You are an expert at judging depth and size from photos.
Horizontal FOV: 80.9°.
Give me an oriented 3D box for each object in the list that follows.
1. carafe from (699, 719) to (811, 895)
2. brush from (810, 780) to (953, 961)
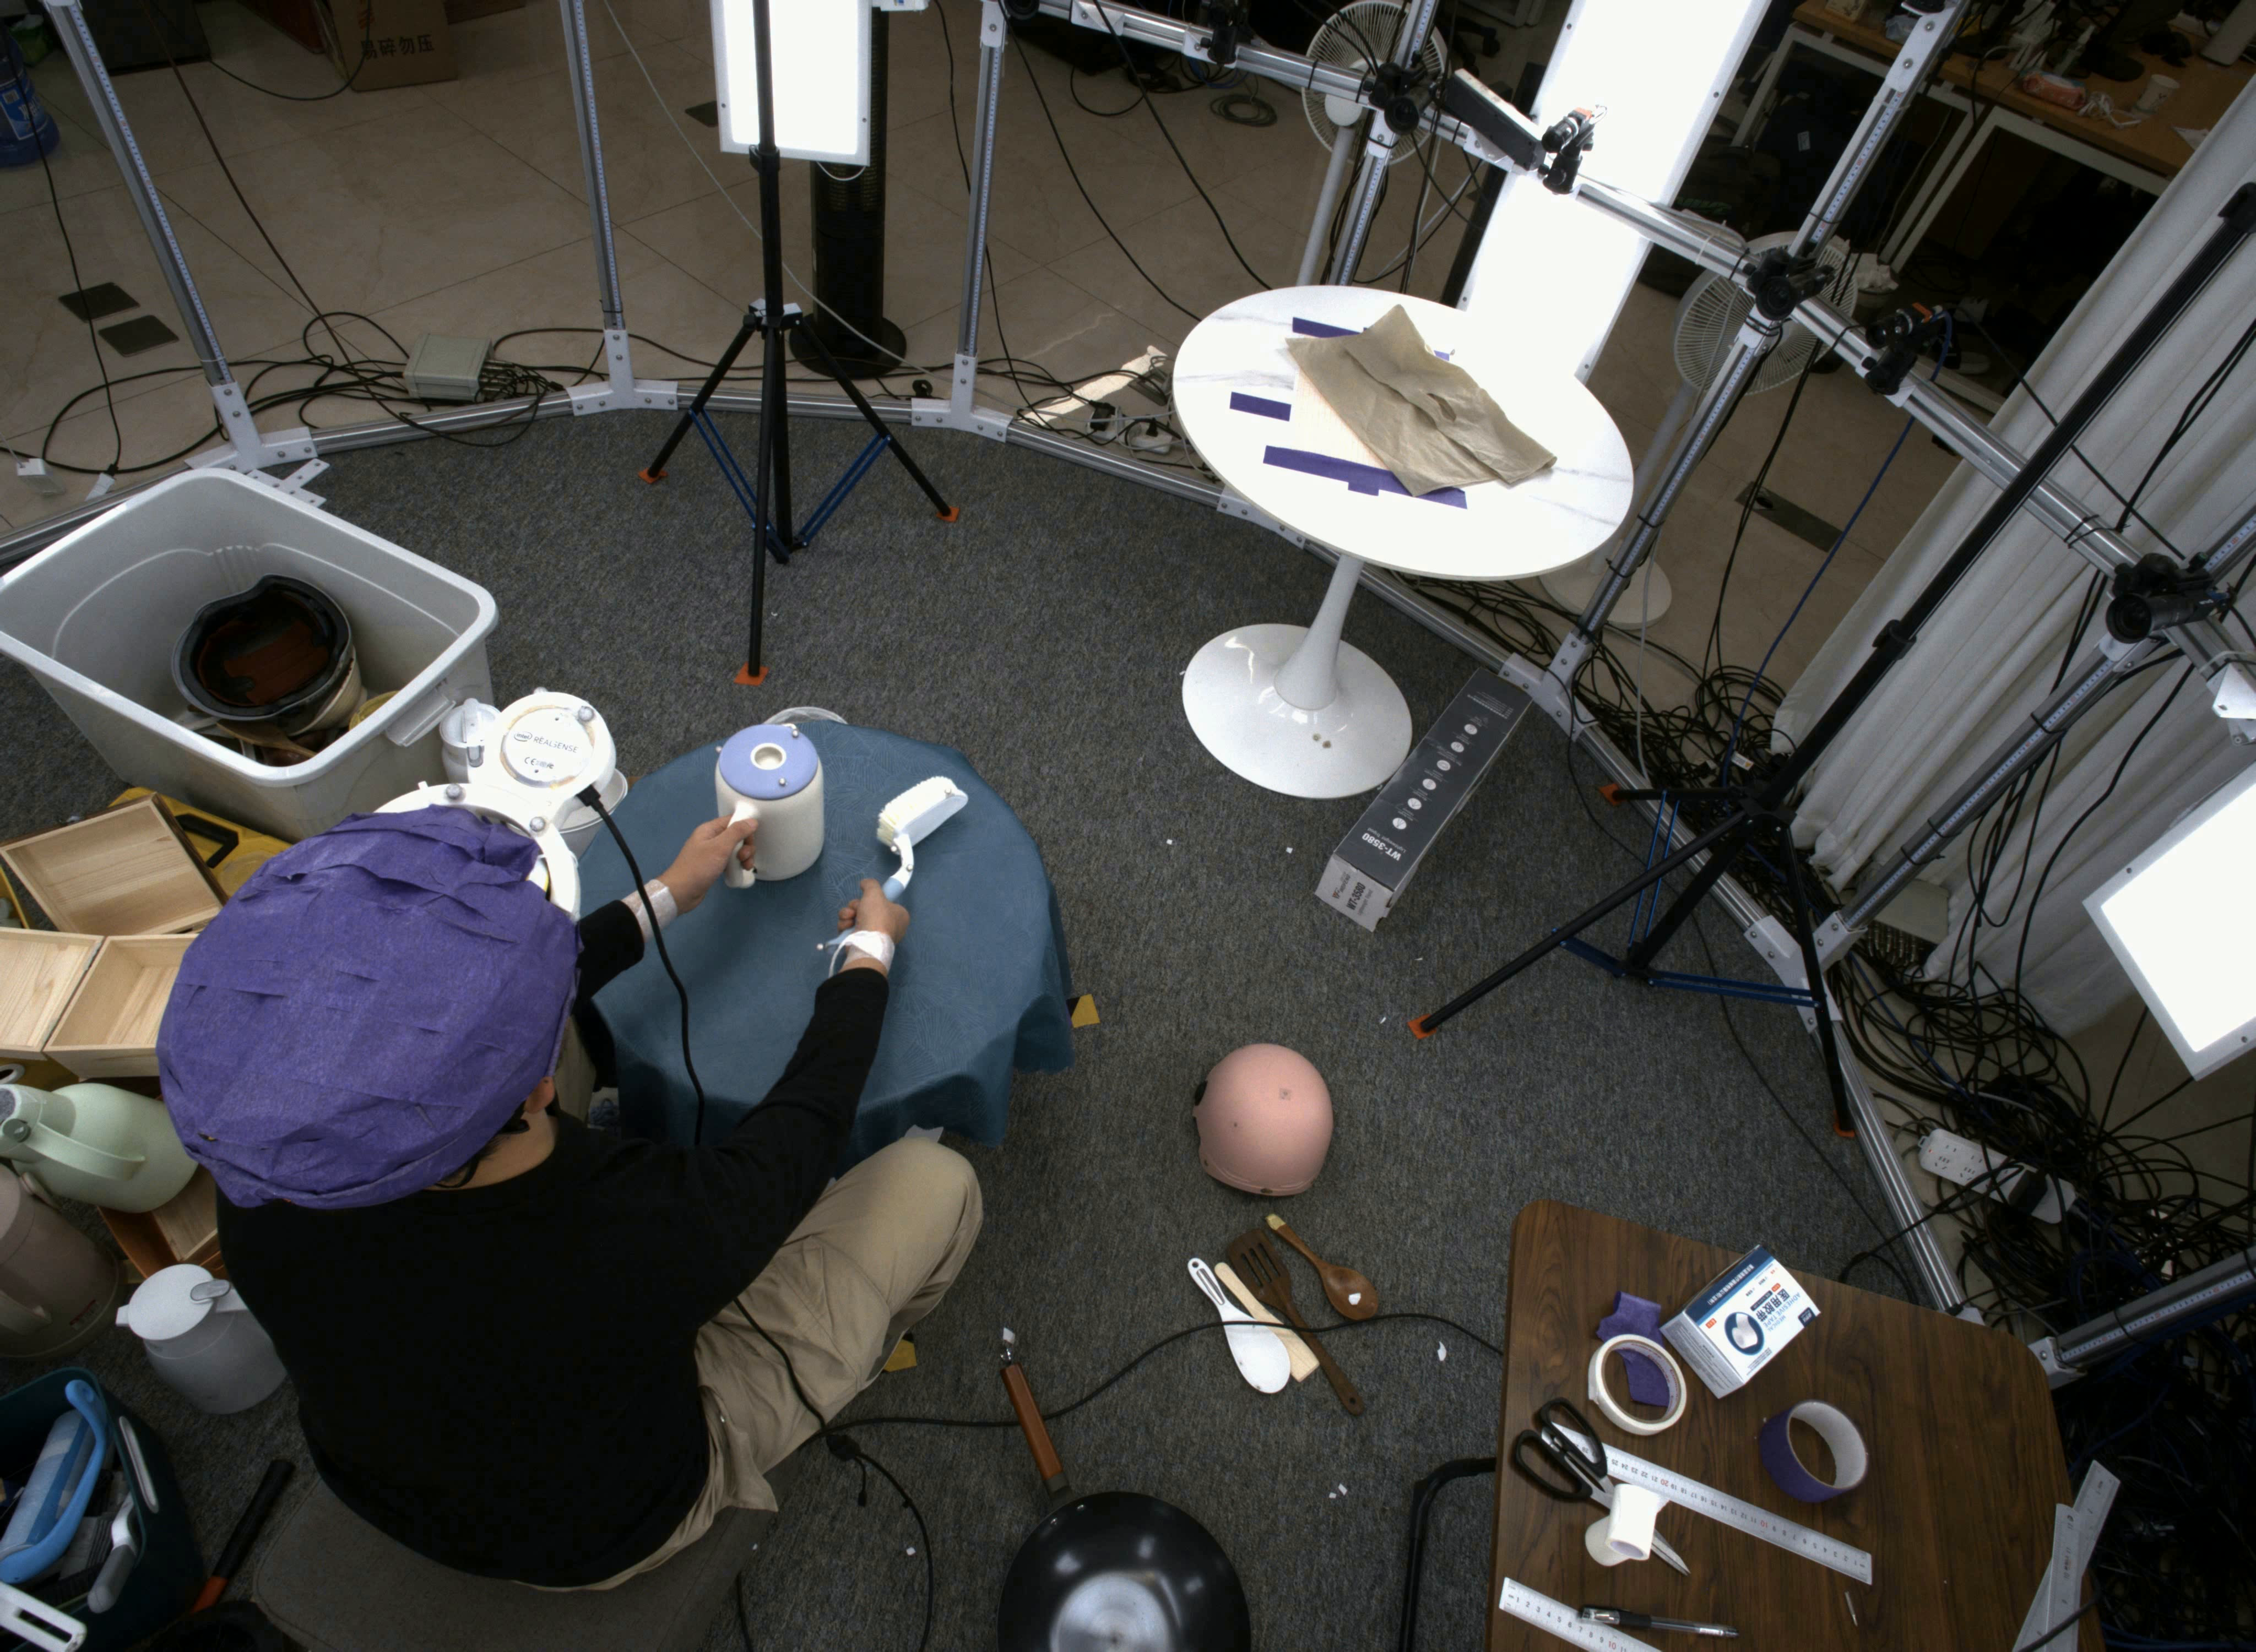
[{"bbox_3d":[-0.472,-0.012,1.604,0.131,0.186,0.189,15,52,0],"label":"carafe"},{"bbox_3d":[-0.332,0.040,1.646,0.082,0.086,0.323,-1,37,31],"label":"brush"}]
